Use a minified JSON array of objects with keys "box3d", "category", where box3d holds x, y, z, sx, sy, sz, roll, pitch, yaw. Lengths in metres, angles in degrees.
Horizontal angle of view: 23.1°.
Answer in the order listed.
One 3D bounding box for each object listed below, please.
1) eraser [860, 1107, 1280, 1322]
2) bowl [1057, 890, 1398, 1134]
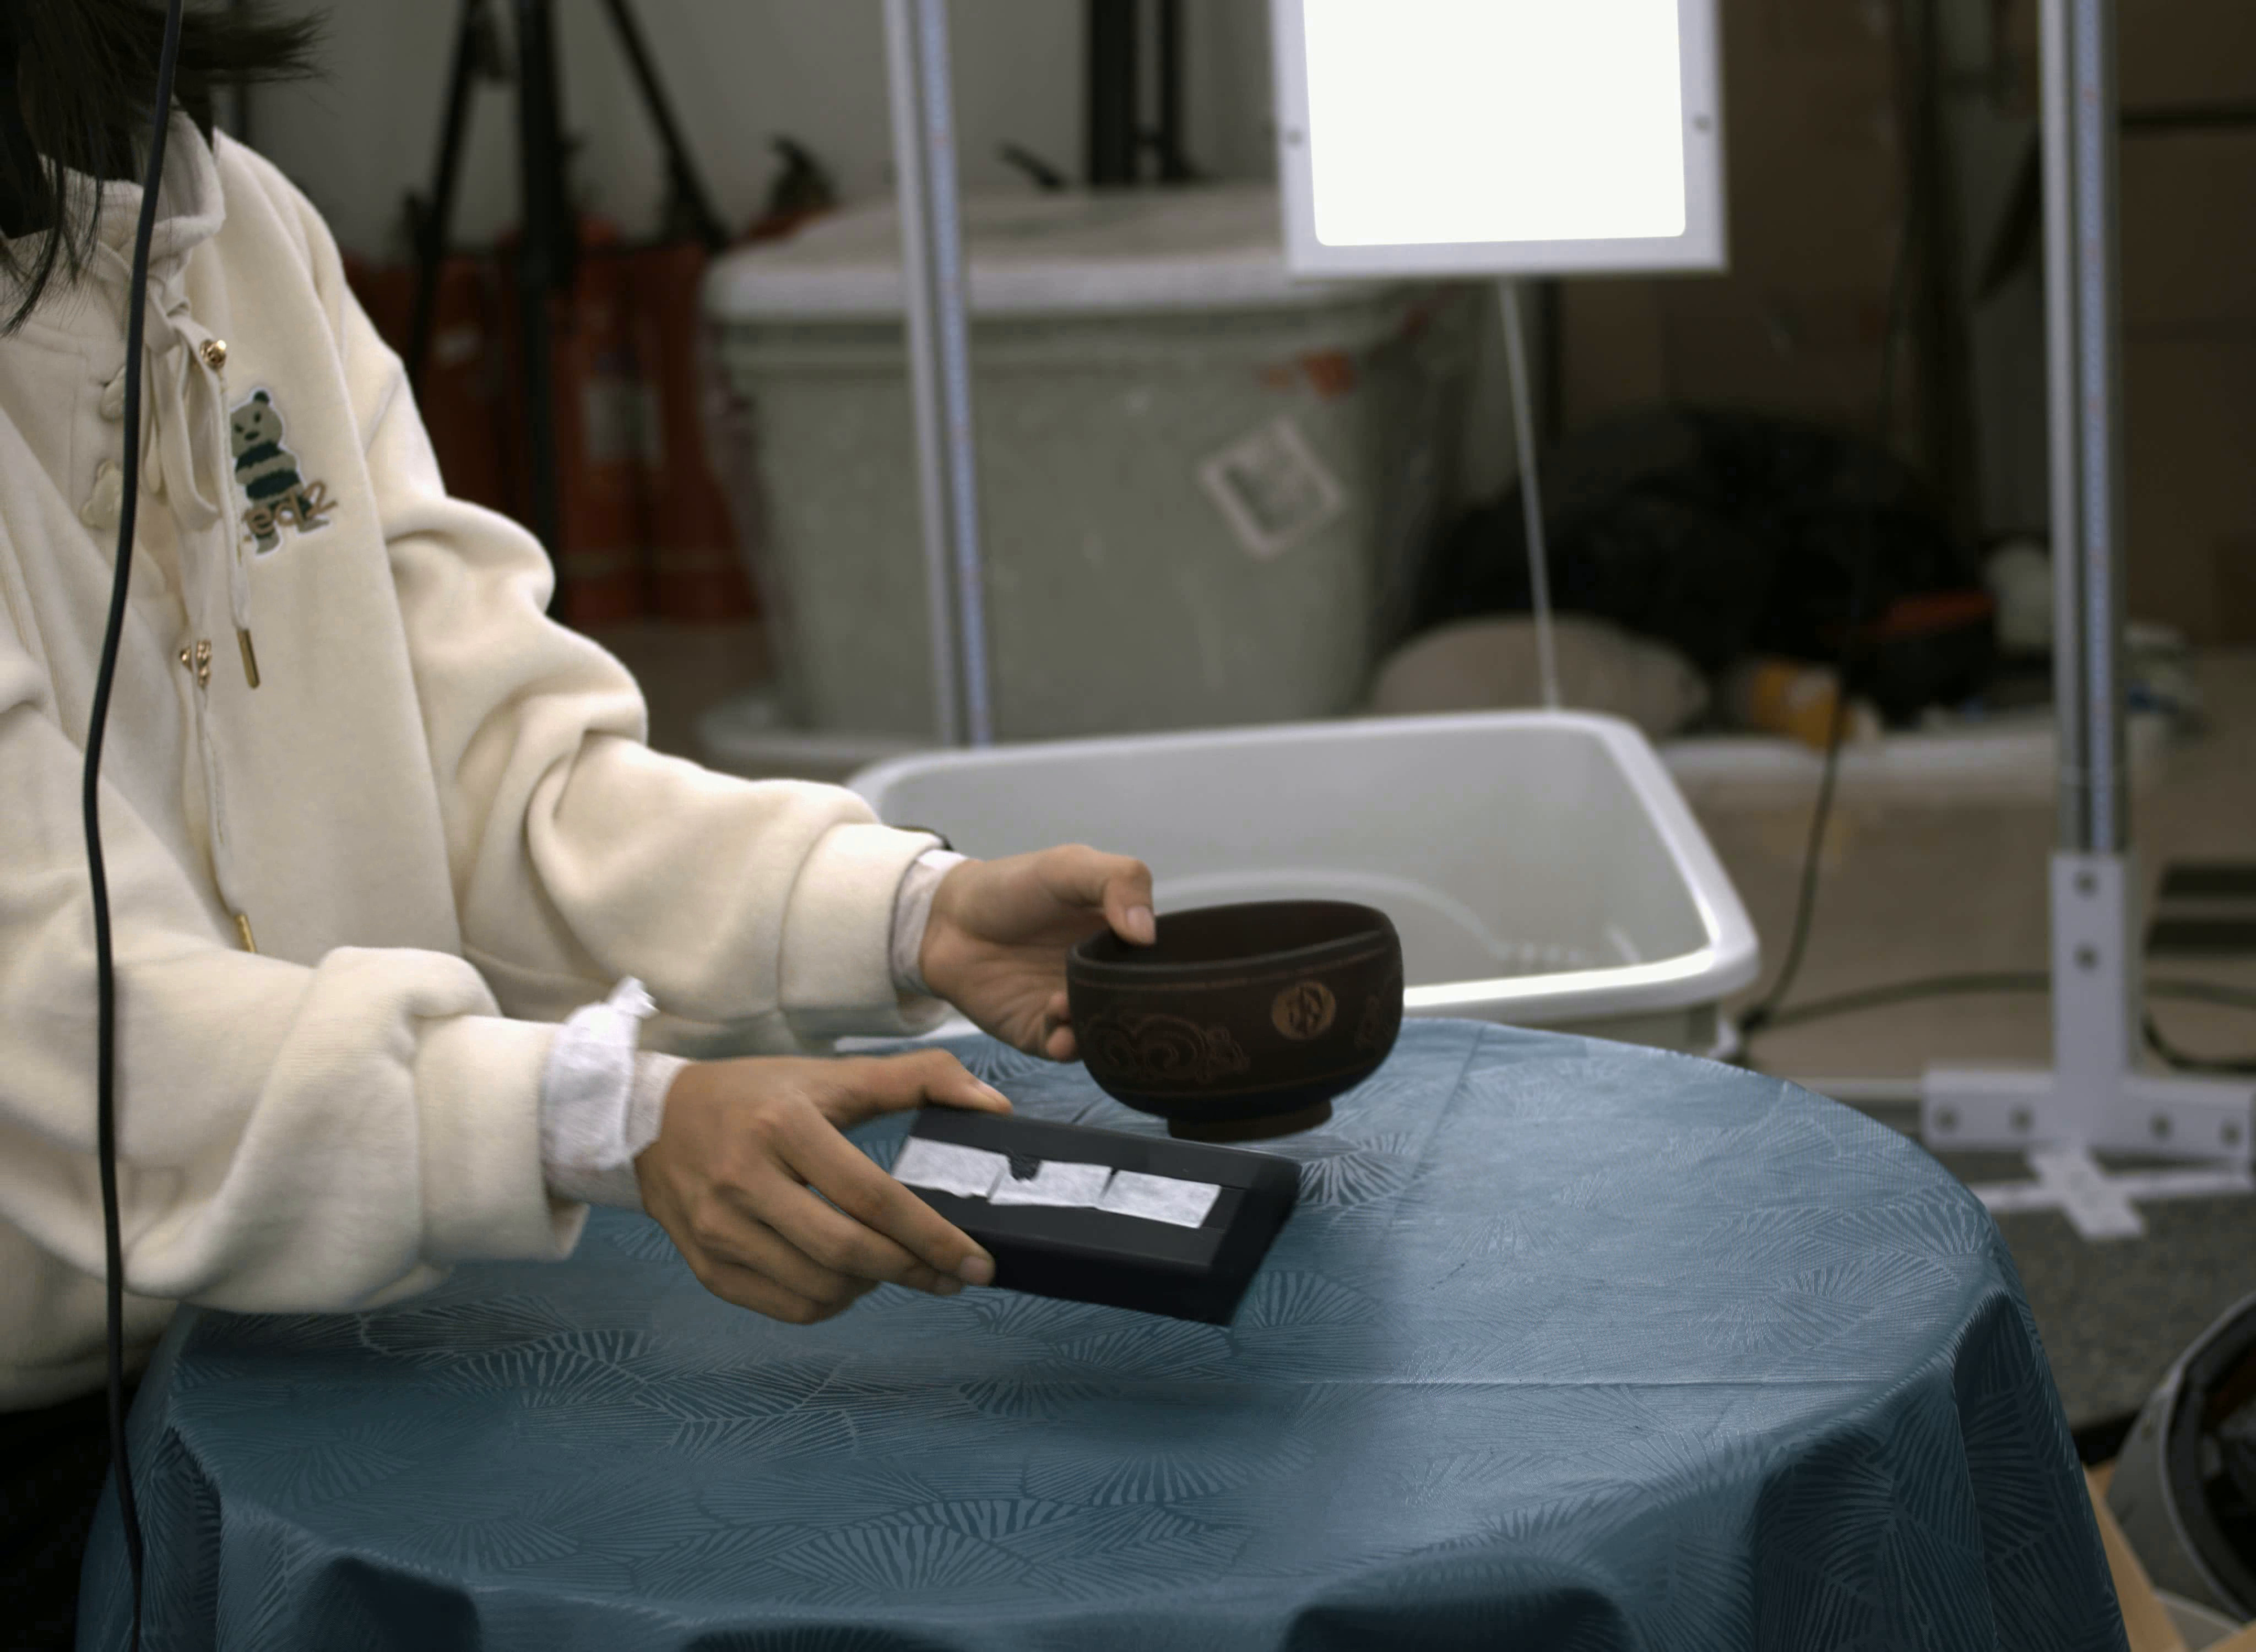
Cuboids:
[{"box3d":[-0.017,0.119,1.705,0.128,0.030,0.053,5,51,29],"category":"eraser"},{"box3d":[0.037,0.066,1.895,0.118,0.070,0.118,-7,8,0],"category":"bowl"}]
